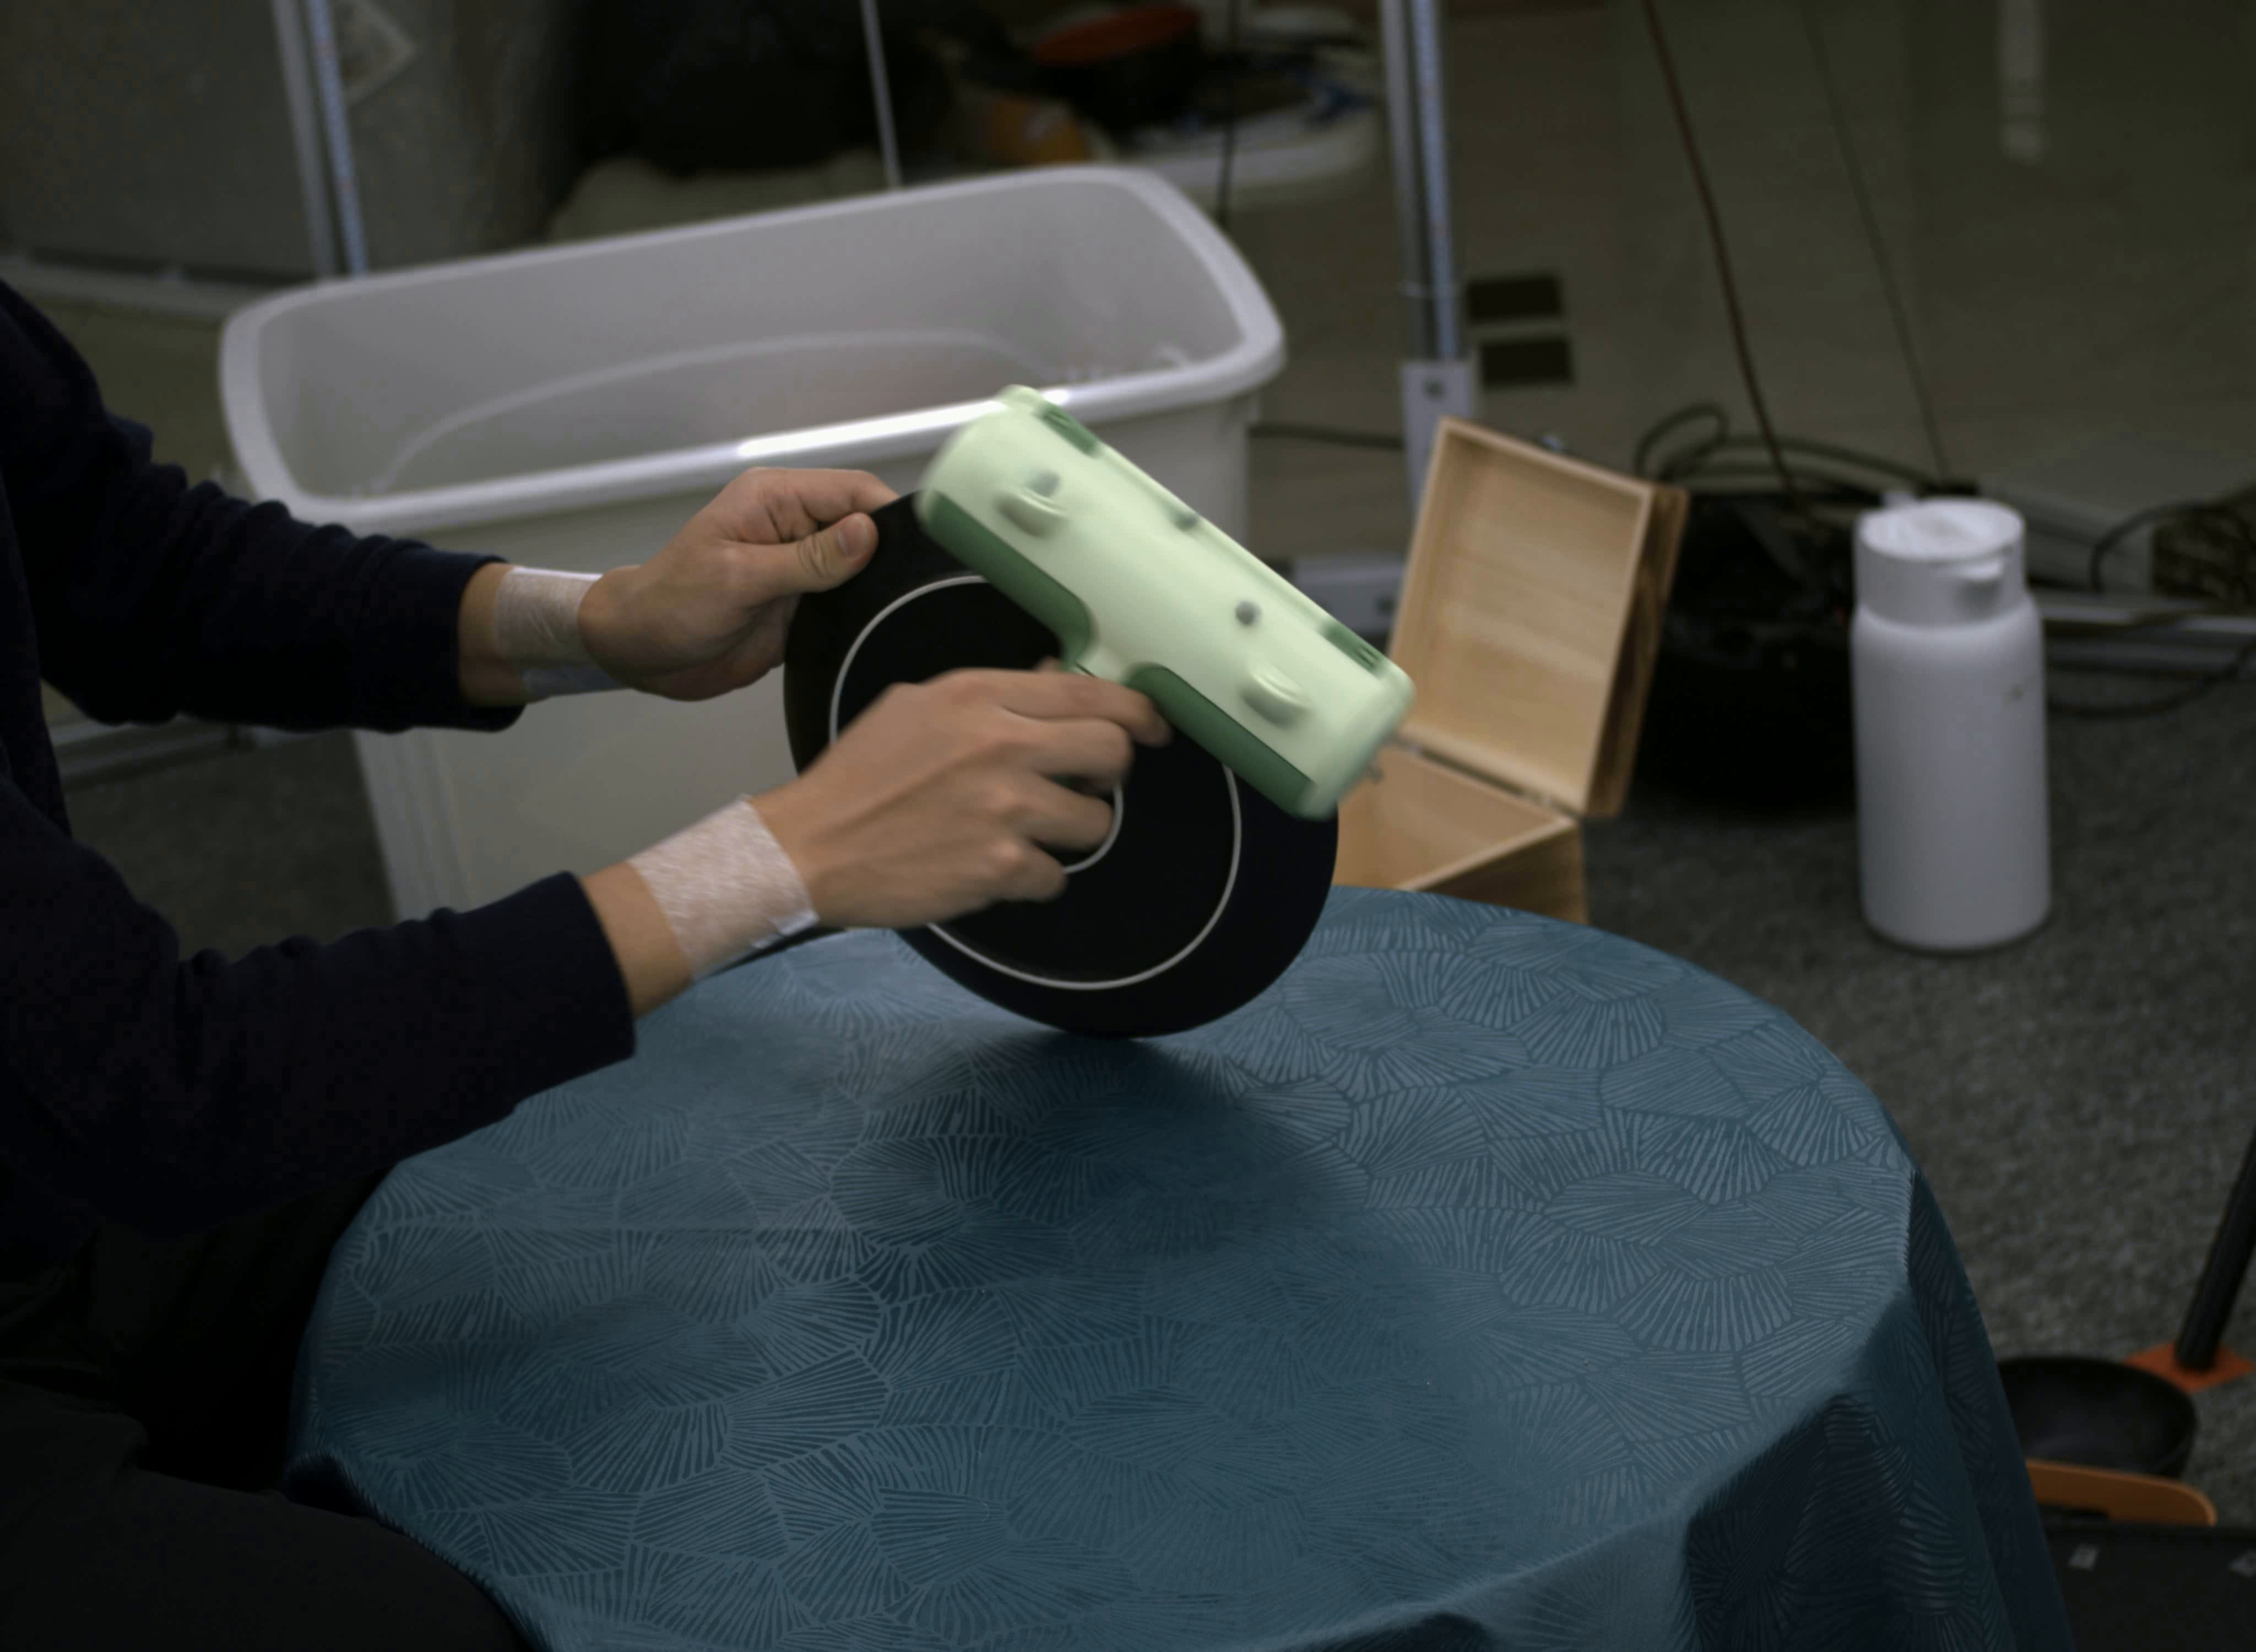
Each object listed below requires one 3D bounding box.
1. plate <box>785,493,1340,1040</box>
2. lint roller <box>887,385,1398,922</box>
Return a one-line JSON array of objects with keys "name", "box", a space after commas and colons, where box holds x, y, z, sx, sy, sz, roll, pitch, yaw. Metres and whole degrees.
[{"name": "plate", "box": [-0.032, -0.020, 2.203, 0.243, 0.248, 0.023, 7, 31, 26]}, {"name": "lint roller", "box": [-0.028, -0.045, 2.088, 0.198, 0.083, 0.182, 37, 73, 7]}]
